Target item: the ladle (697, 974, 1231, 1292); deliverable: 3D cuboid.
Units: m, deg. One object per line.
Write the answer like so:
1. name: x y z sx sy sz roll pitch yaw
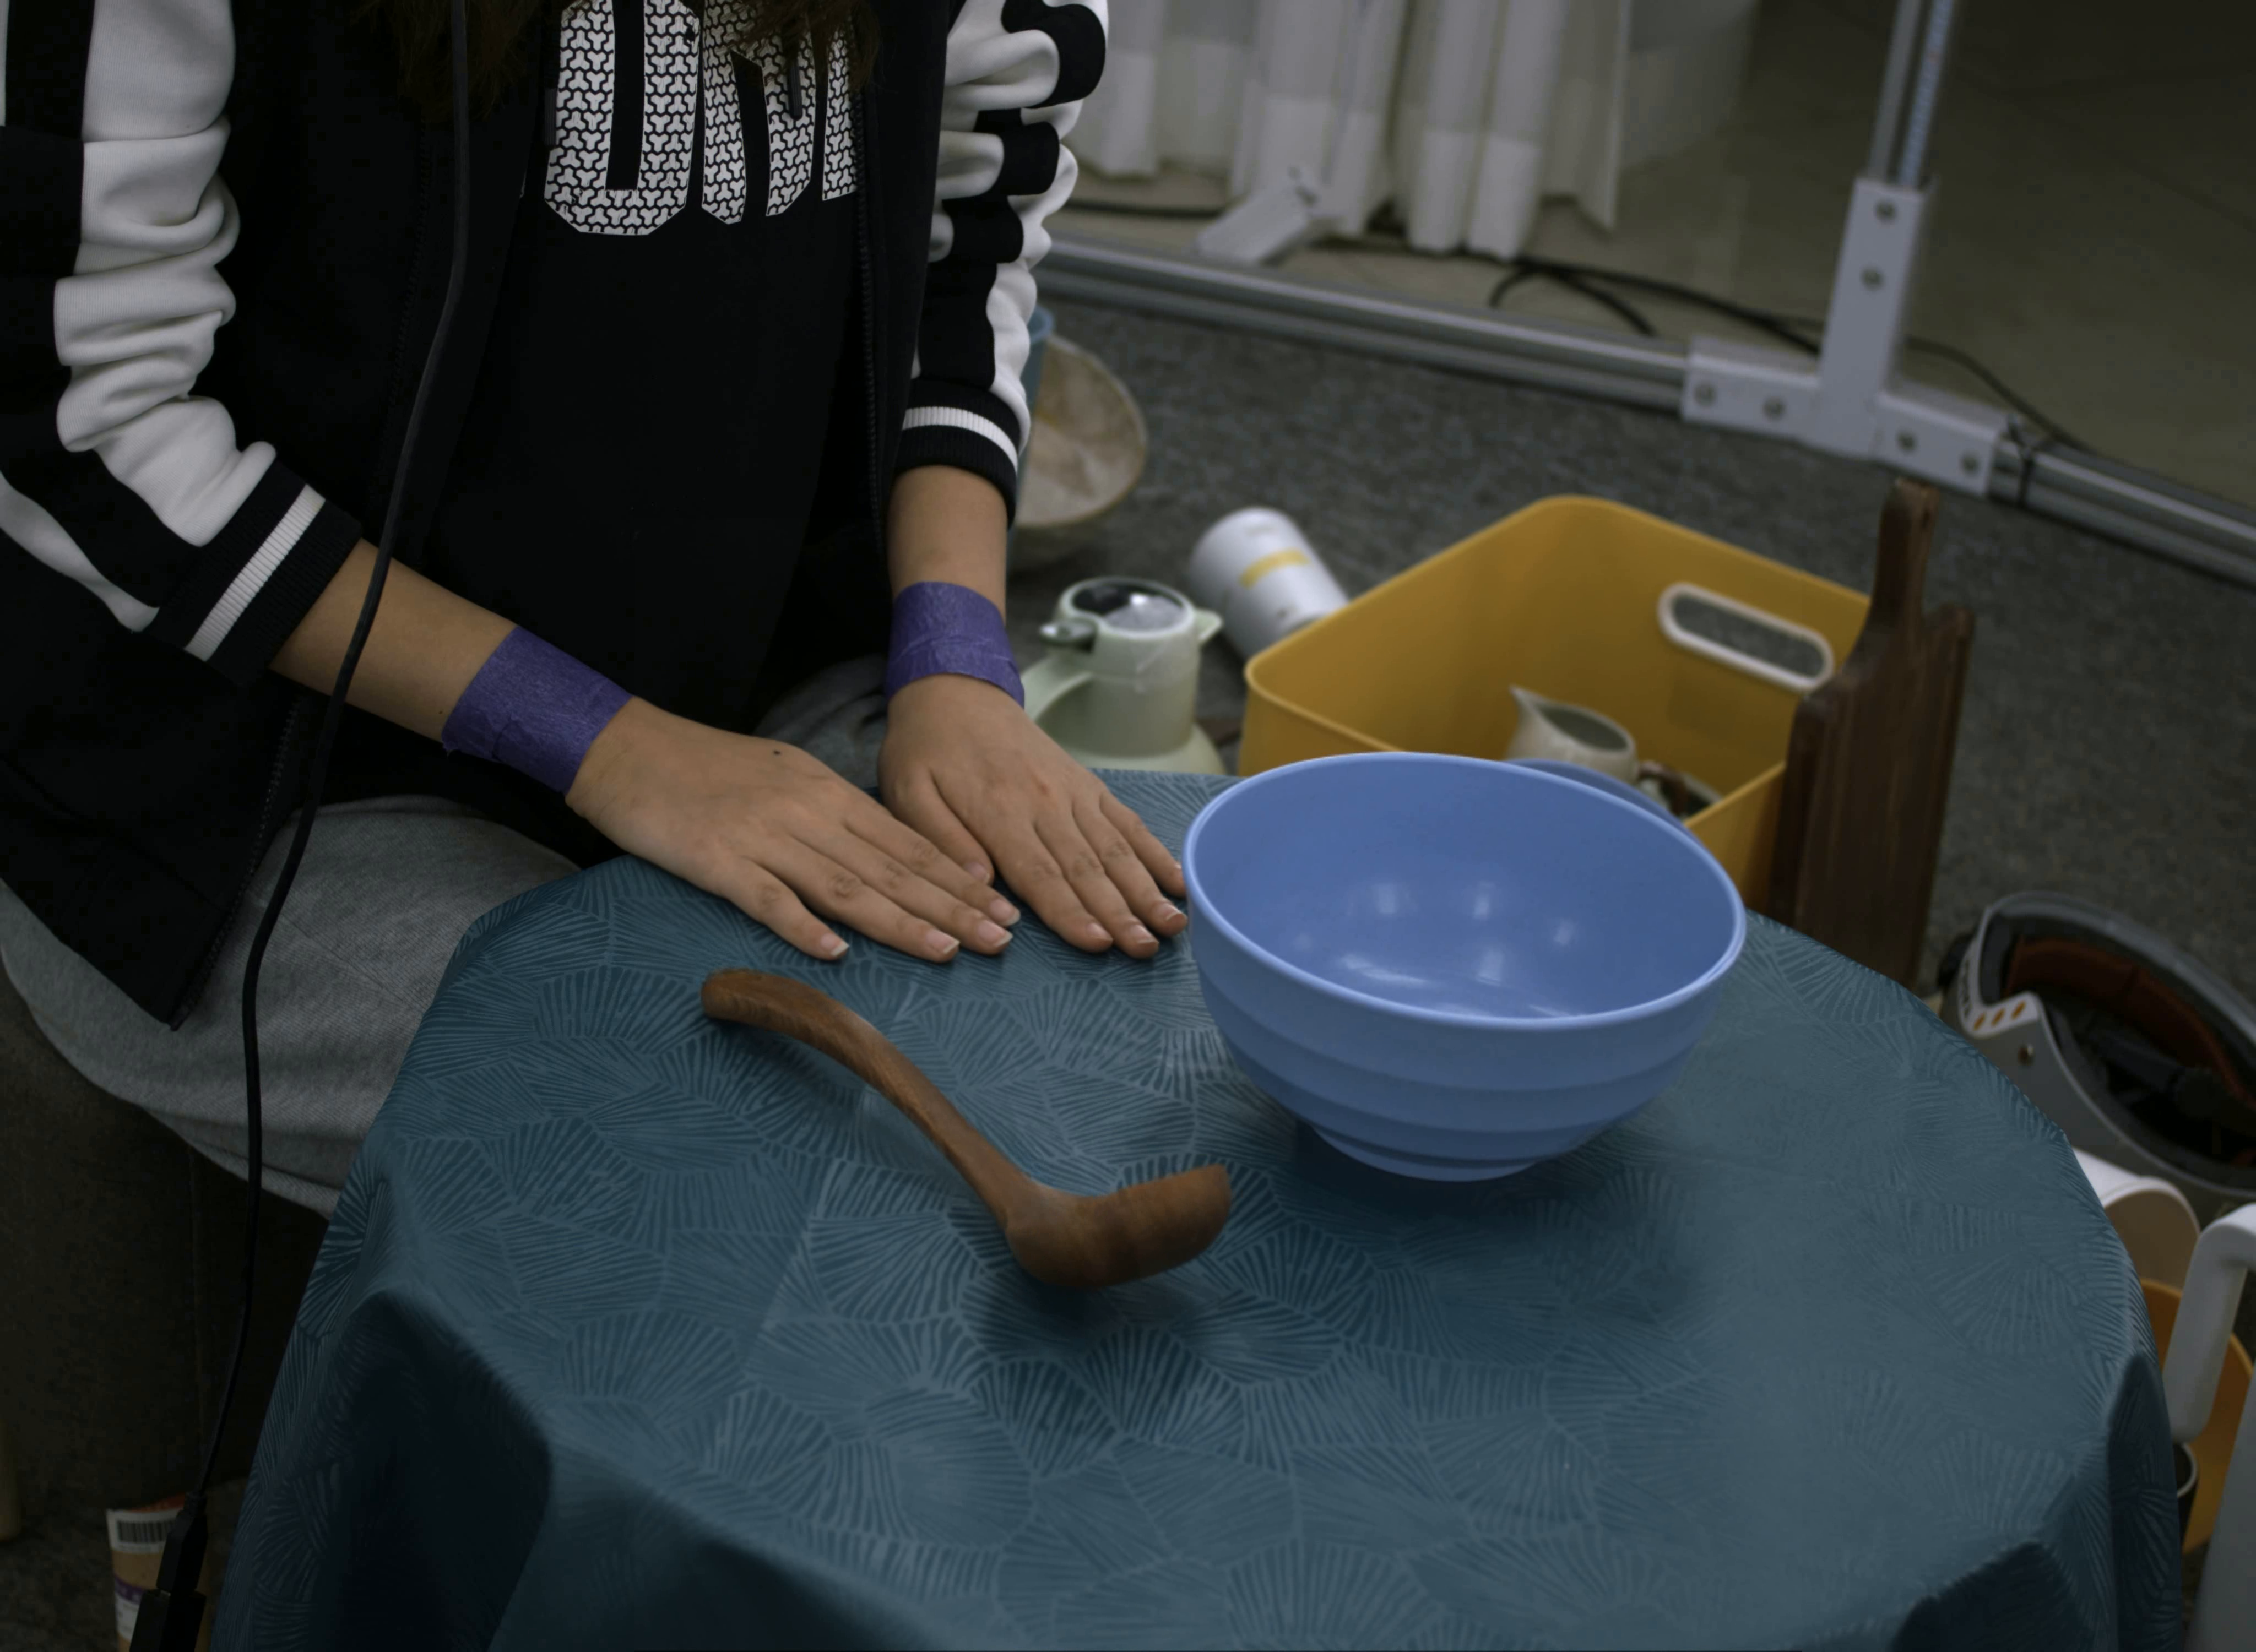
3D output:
1. ladle: -0.063 0.088 1.789 0.076 0.065 0.262 -8 29 -39

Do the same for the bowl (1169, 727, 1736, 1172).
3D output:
1. bowl: 0.108 0.056 1.855 0.196 0.095 0.198 3 33 -2
